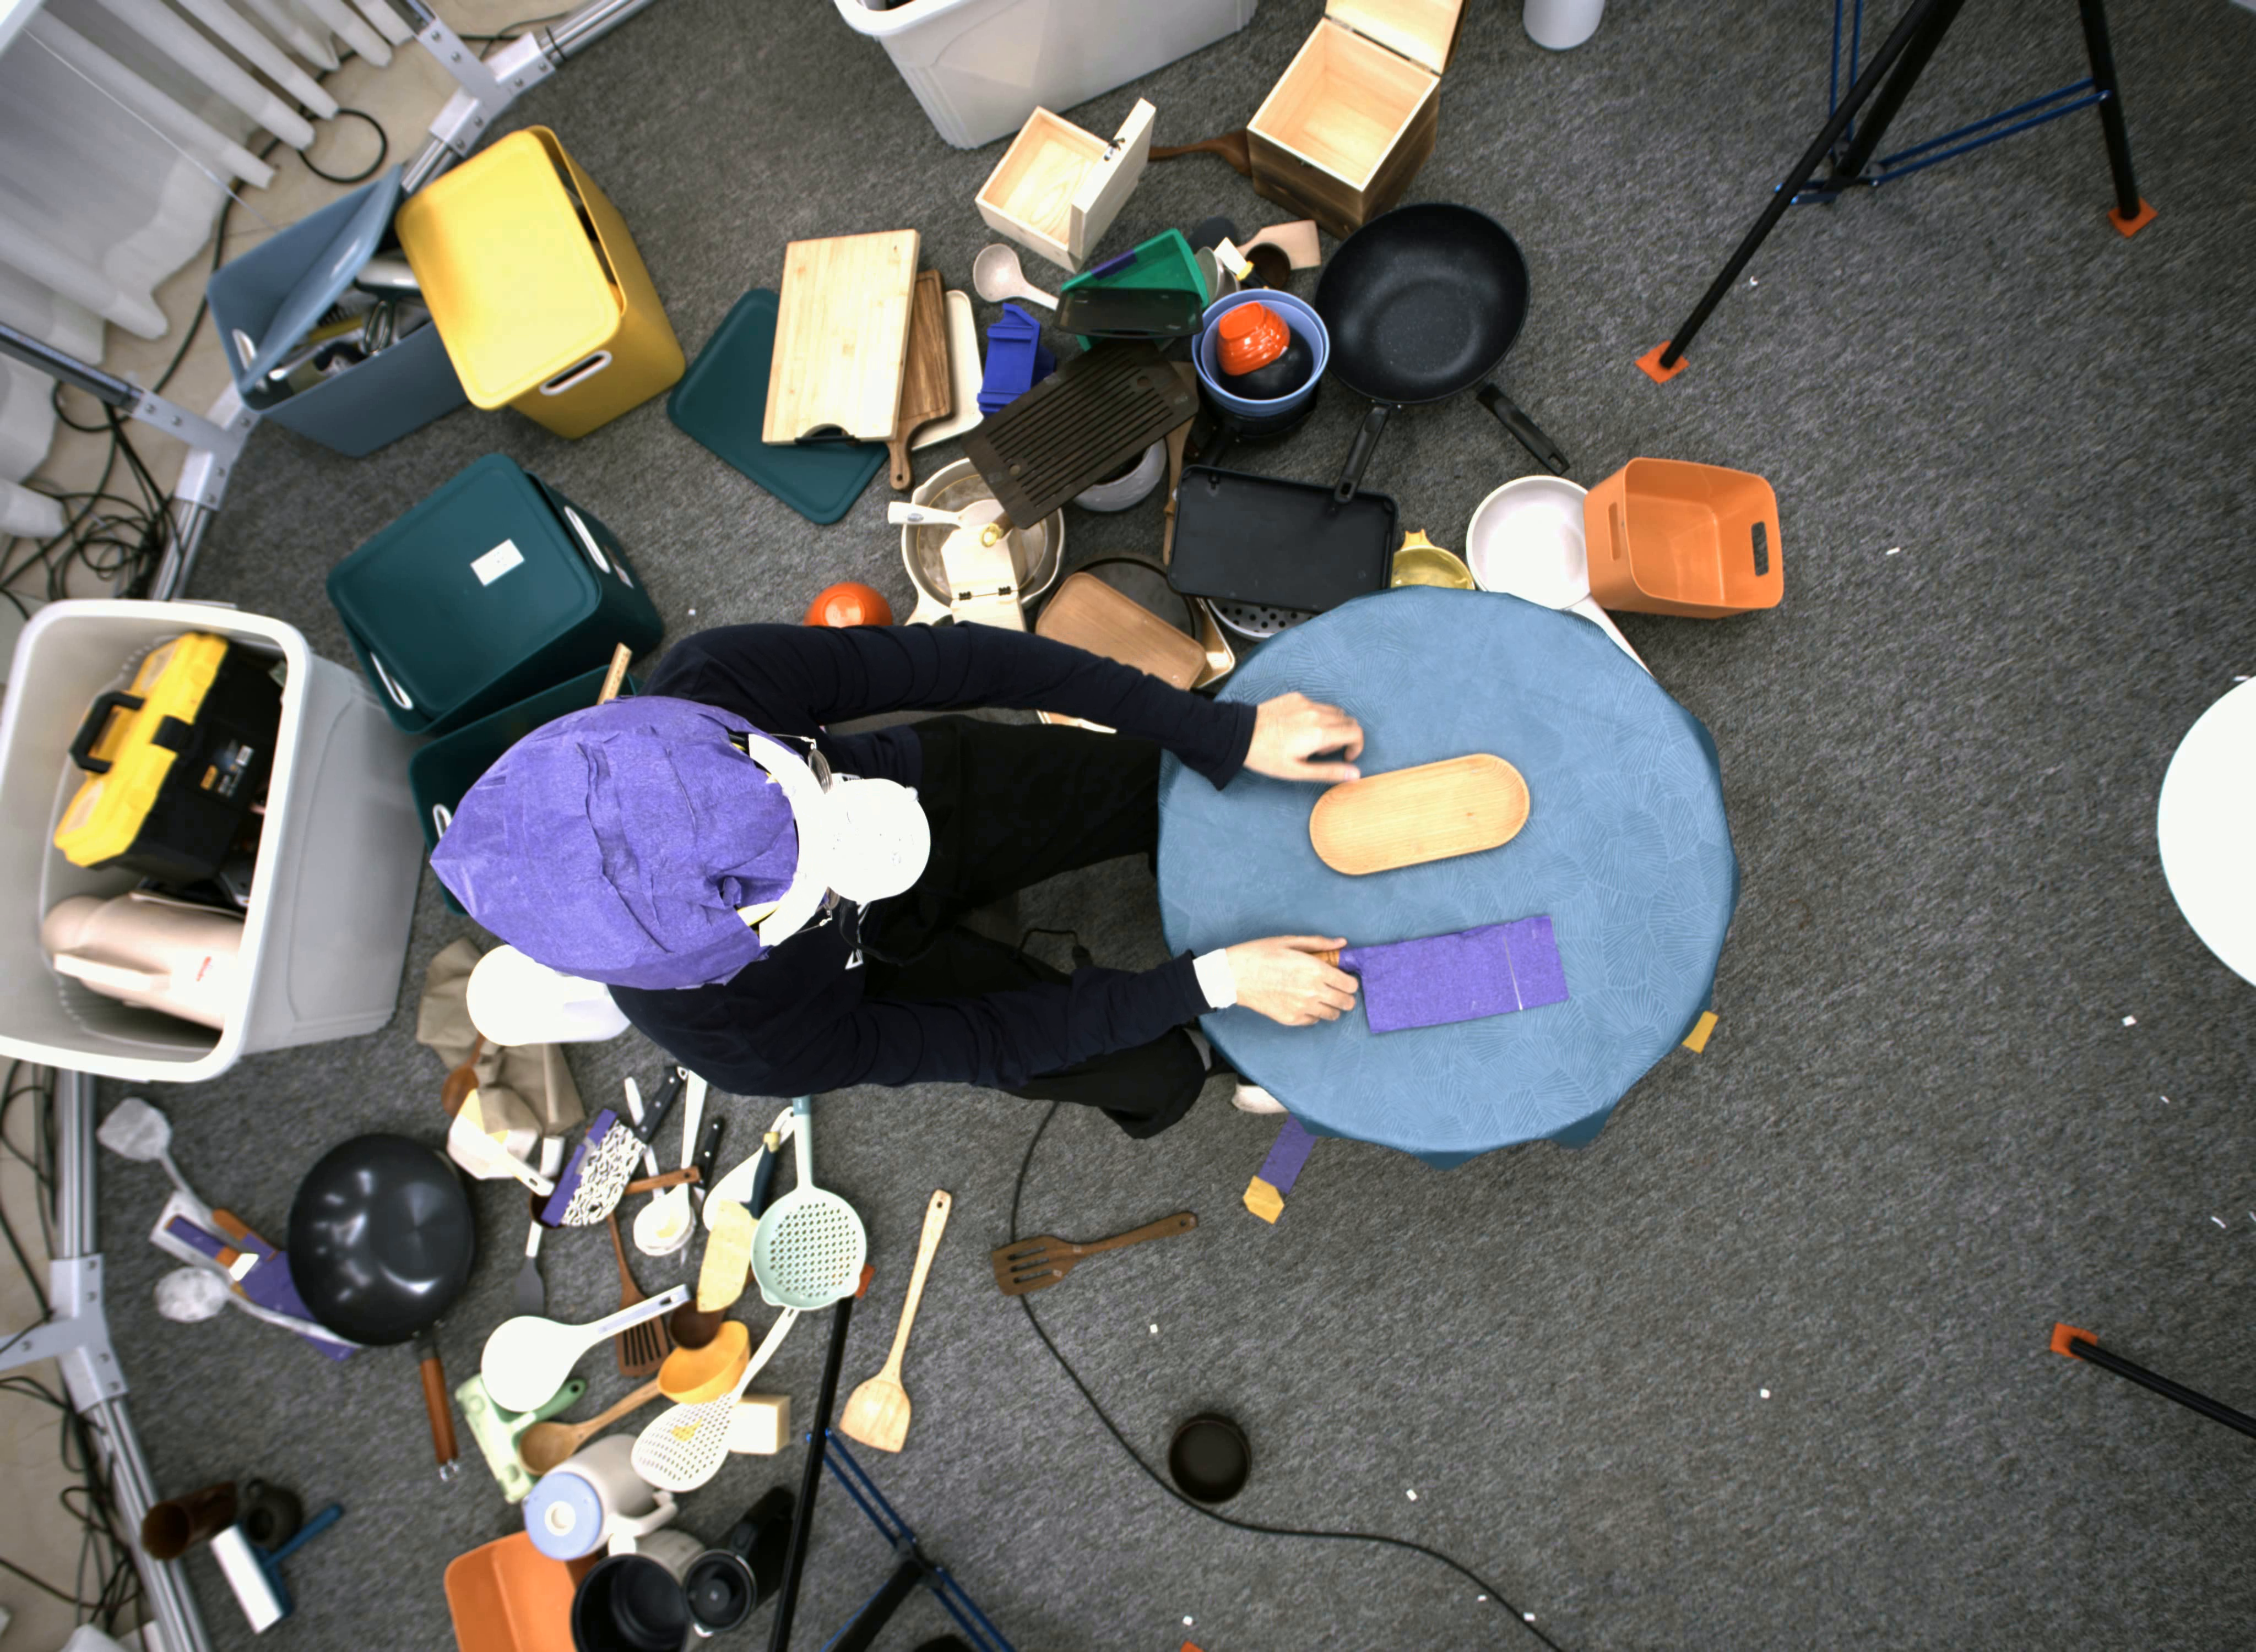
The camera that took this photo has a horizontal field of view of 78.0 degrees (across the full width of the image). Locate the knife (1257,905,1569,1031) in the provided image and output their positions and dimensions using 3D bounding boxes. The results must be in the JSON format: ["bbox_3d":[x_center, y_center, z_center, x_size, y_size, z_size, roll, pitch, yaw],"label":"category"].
[{"bbox_3d":[0.296,0.160,1.437,0.317,0.032,0.103,-12,84,9],"label":"knife"}]

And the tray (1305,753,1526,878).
[{"bbox_3d":[0.302,-0.012,1.451,0.232,0.020,0.101,-14,83,11],"label":"tray"}]
